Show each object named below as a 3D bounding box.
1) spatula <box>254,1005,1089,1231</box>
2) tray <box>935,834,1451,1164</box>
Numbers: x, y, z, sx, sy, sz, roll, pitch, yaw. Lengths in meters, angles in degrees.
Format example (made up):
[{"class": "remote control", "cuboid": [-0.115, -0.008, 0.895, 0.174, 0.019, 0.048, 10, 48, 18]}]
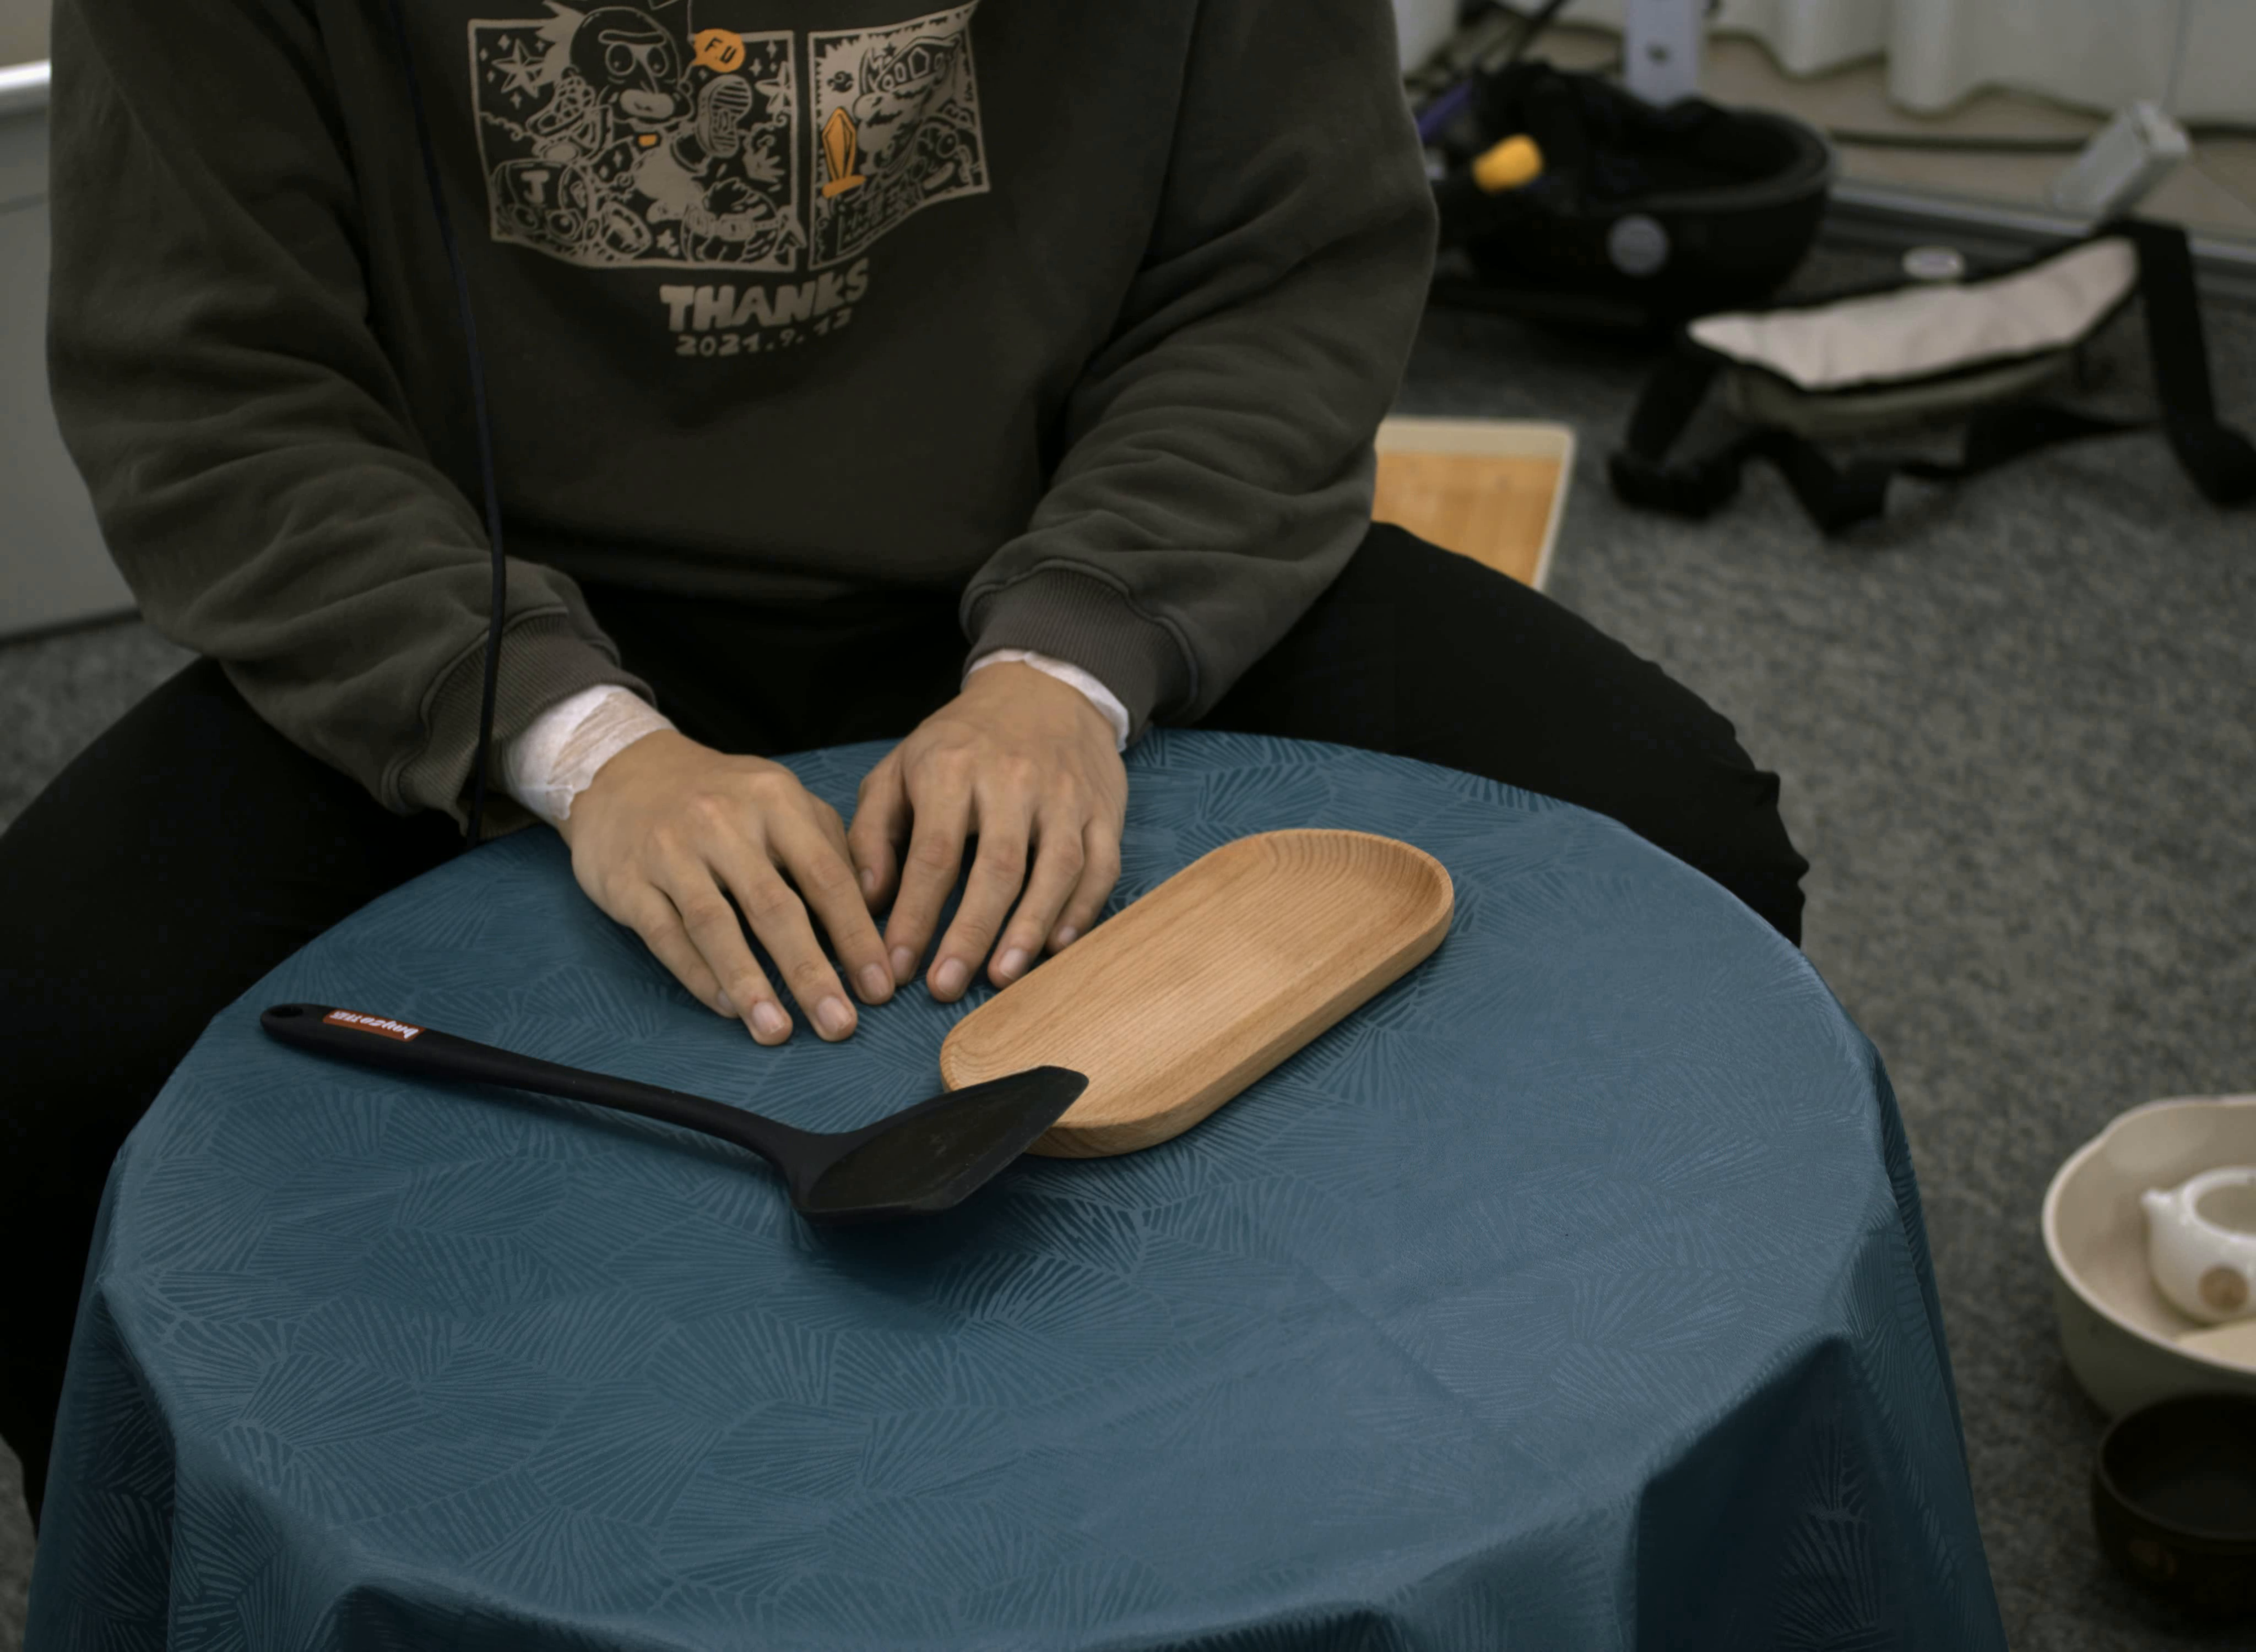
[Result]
[{"class": "spatula", "cuboid": [-0.169, 0.088, 1.903, 0.324, 0.040, 0.101, 13, 30, 28]}, {"class": "tray", "cuboid": [0.025, 0.059, 1.961, 0.101, 0.020, 0.234, 17, 35, 34]}]
